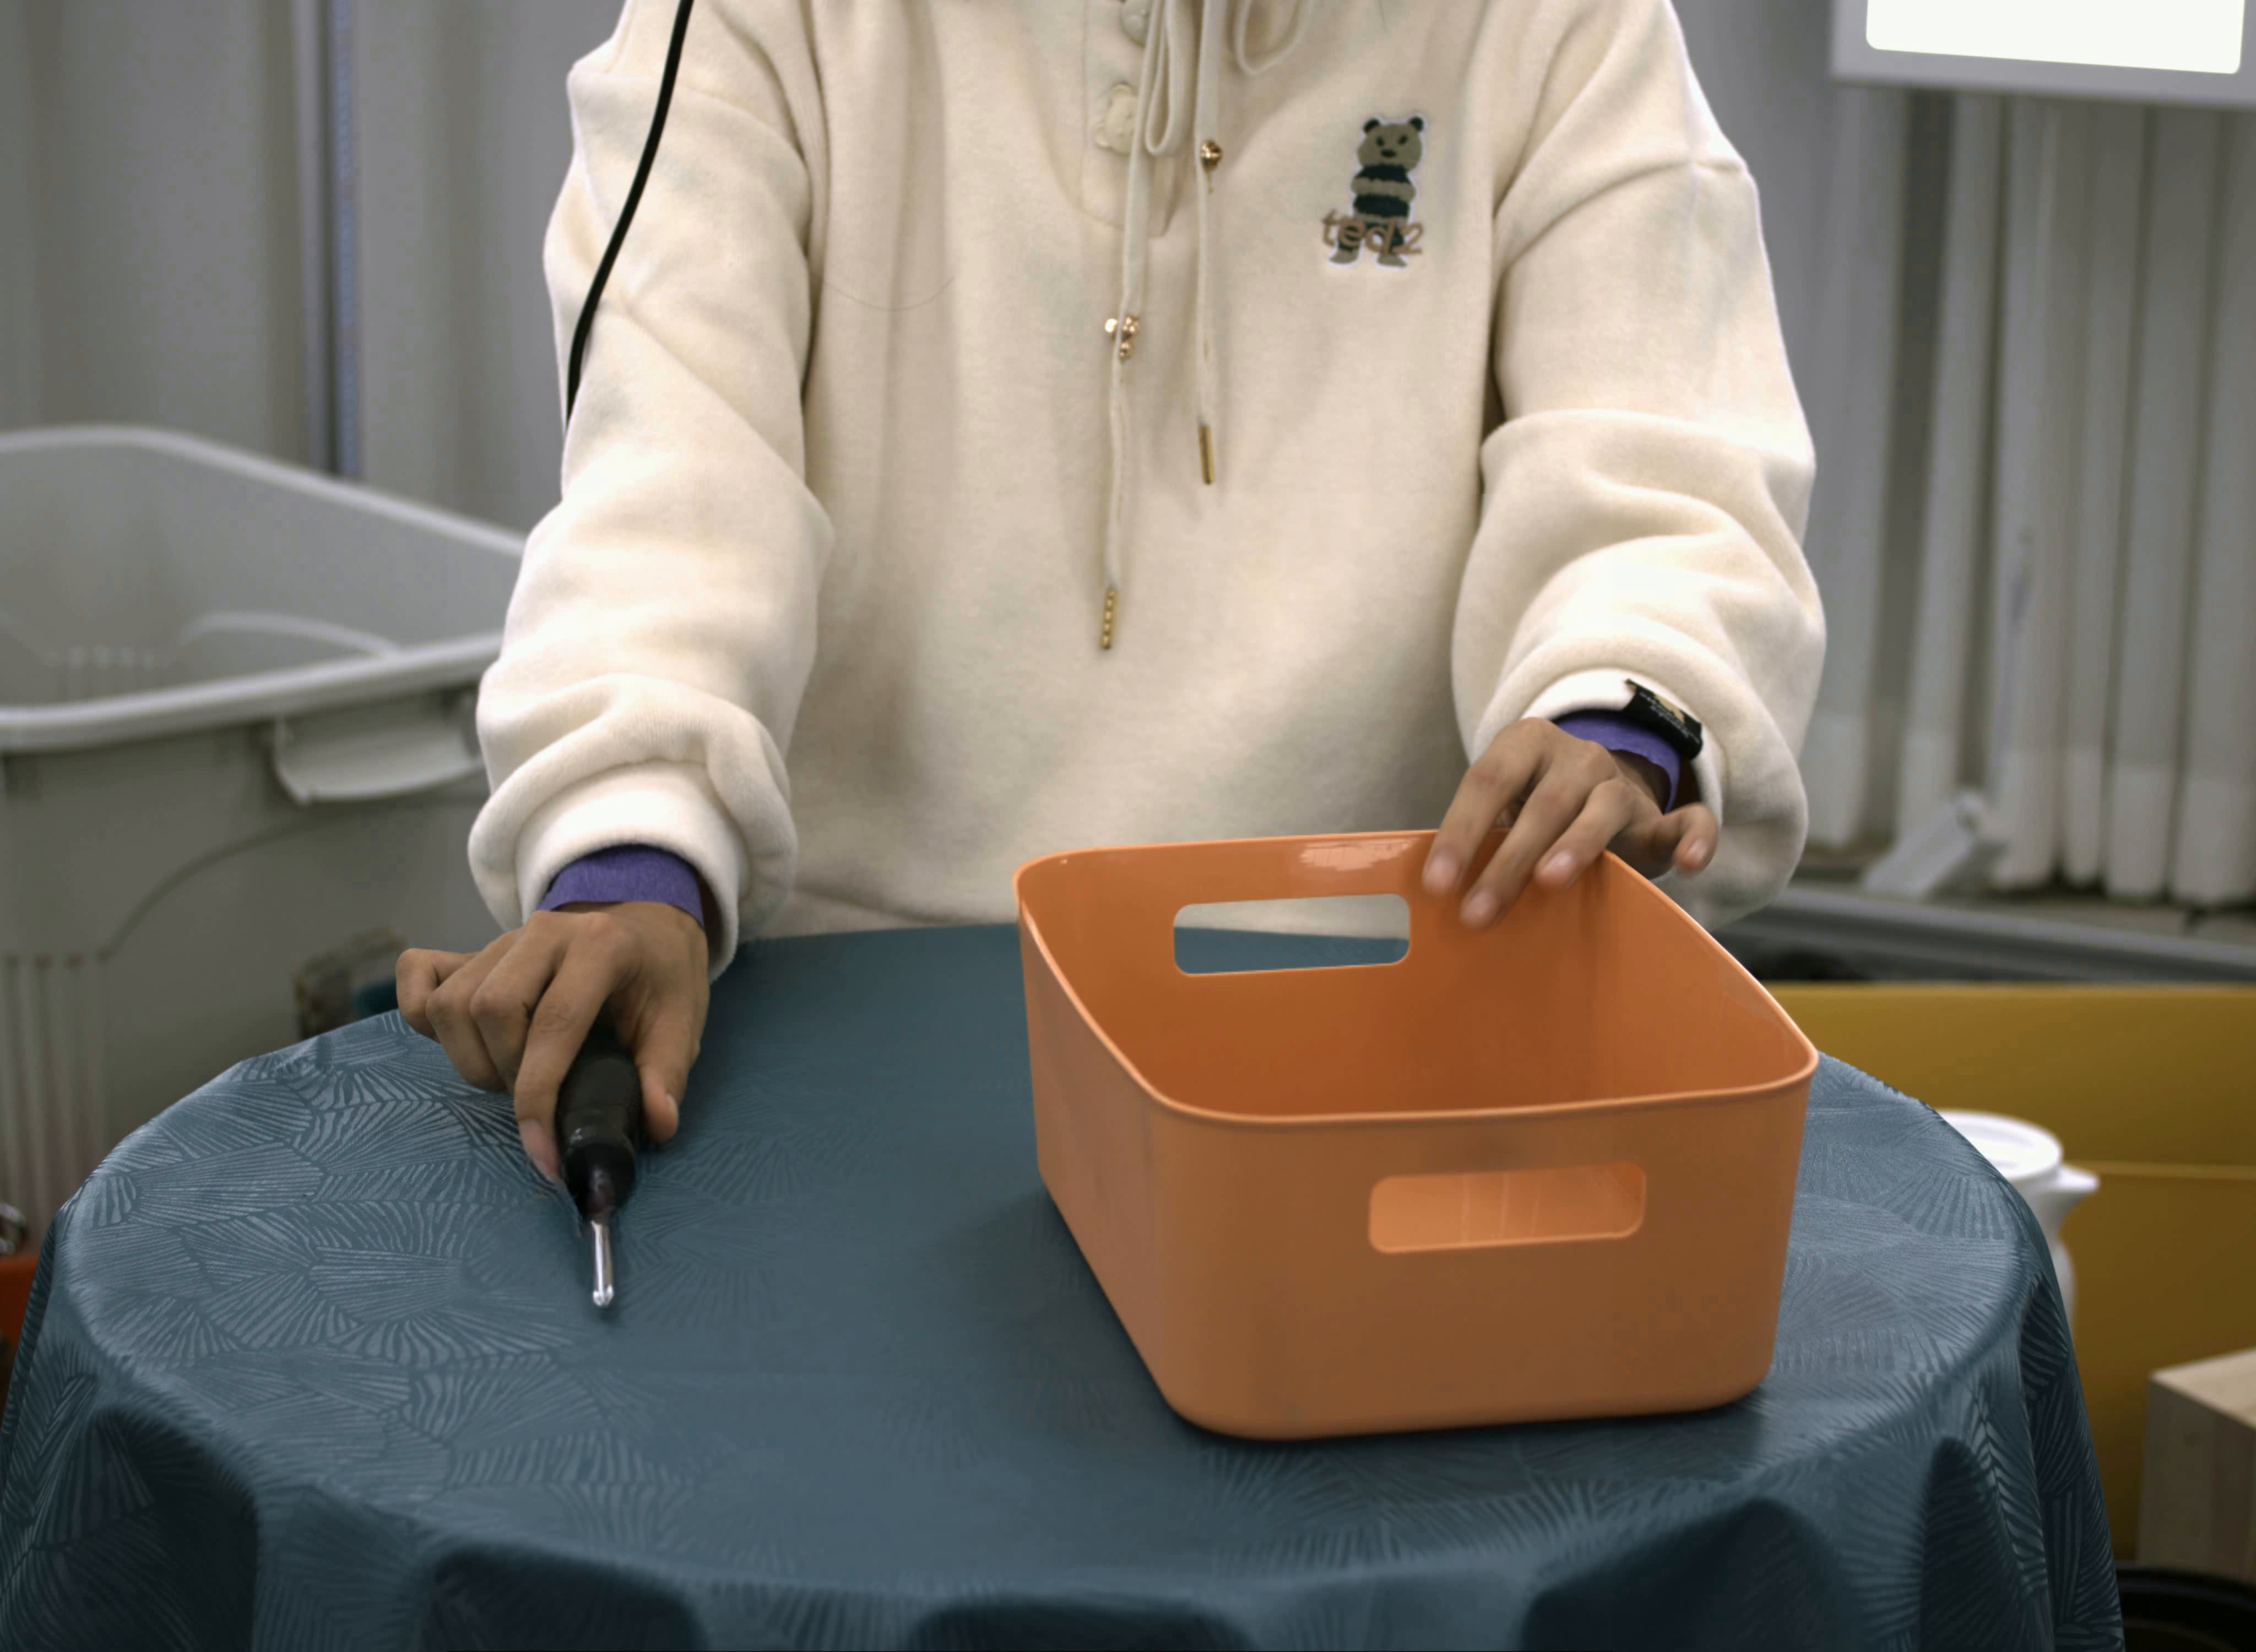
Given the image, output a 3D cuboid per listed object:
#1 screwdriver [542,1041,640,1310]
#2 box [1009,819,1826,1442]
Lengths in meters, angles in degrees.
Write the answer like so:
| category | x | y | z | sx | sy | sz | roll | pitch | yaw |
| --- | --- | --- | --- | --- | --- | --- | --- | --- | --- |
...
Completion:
| category | x | y | z | sx | sy | sz | roll | pitch | yaw |
| --- | --- | --- | --- | --- | --- | --- | --- | --- | --- |
| screwdriver | -0.165 | 0.109 | 1.597 | 0.031 | 0.032 | 0.195 | 0 | 19 | -4 |
| box | 0.078 | 0.084 | 1.526 | 0.199 | 0.103 | 0.270 | -4 | 17 | -11 |
